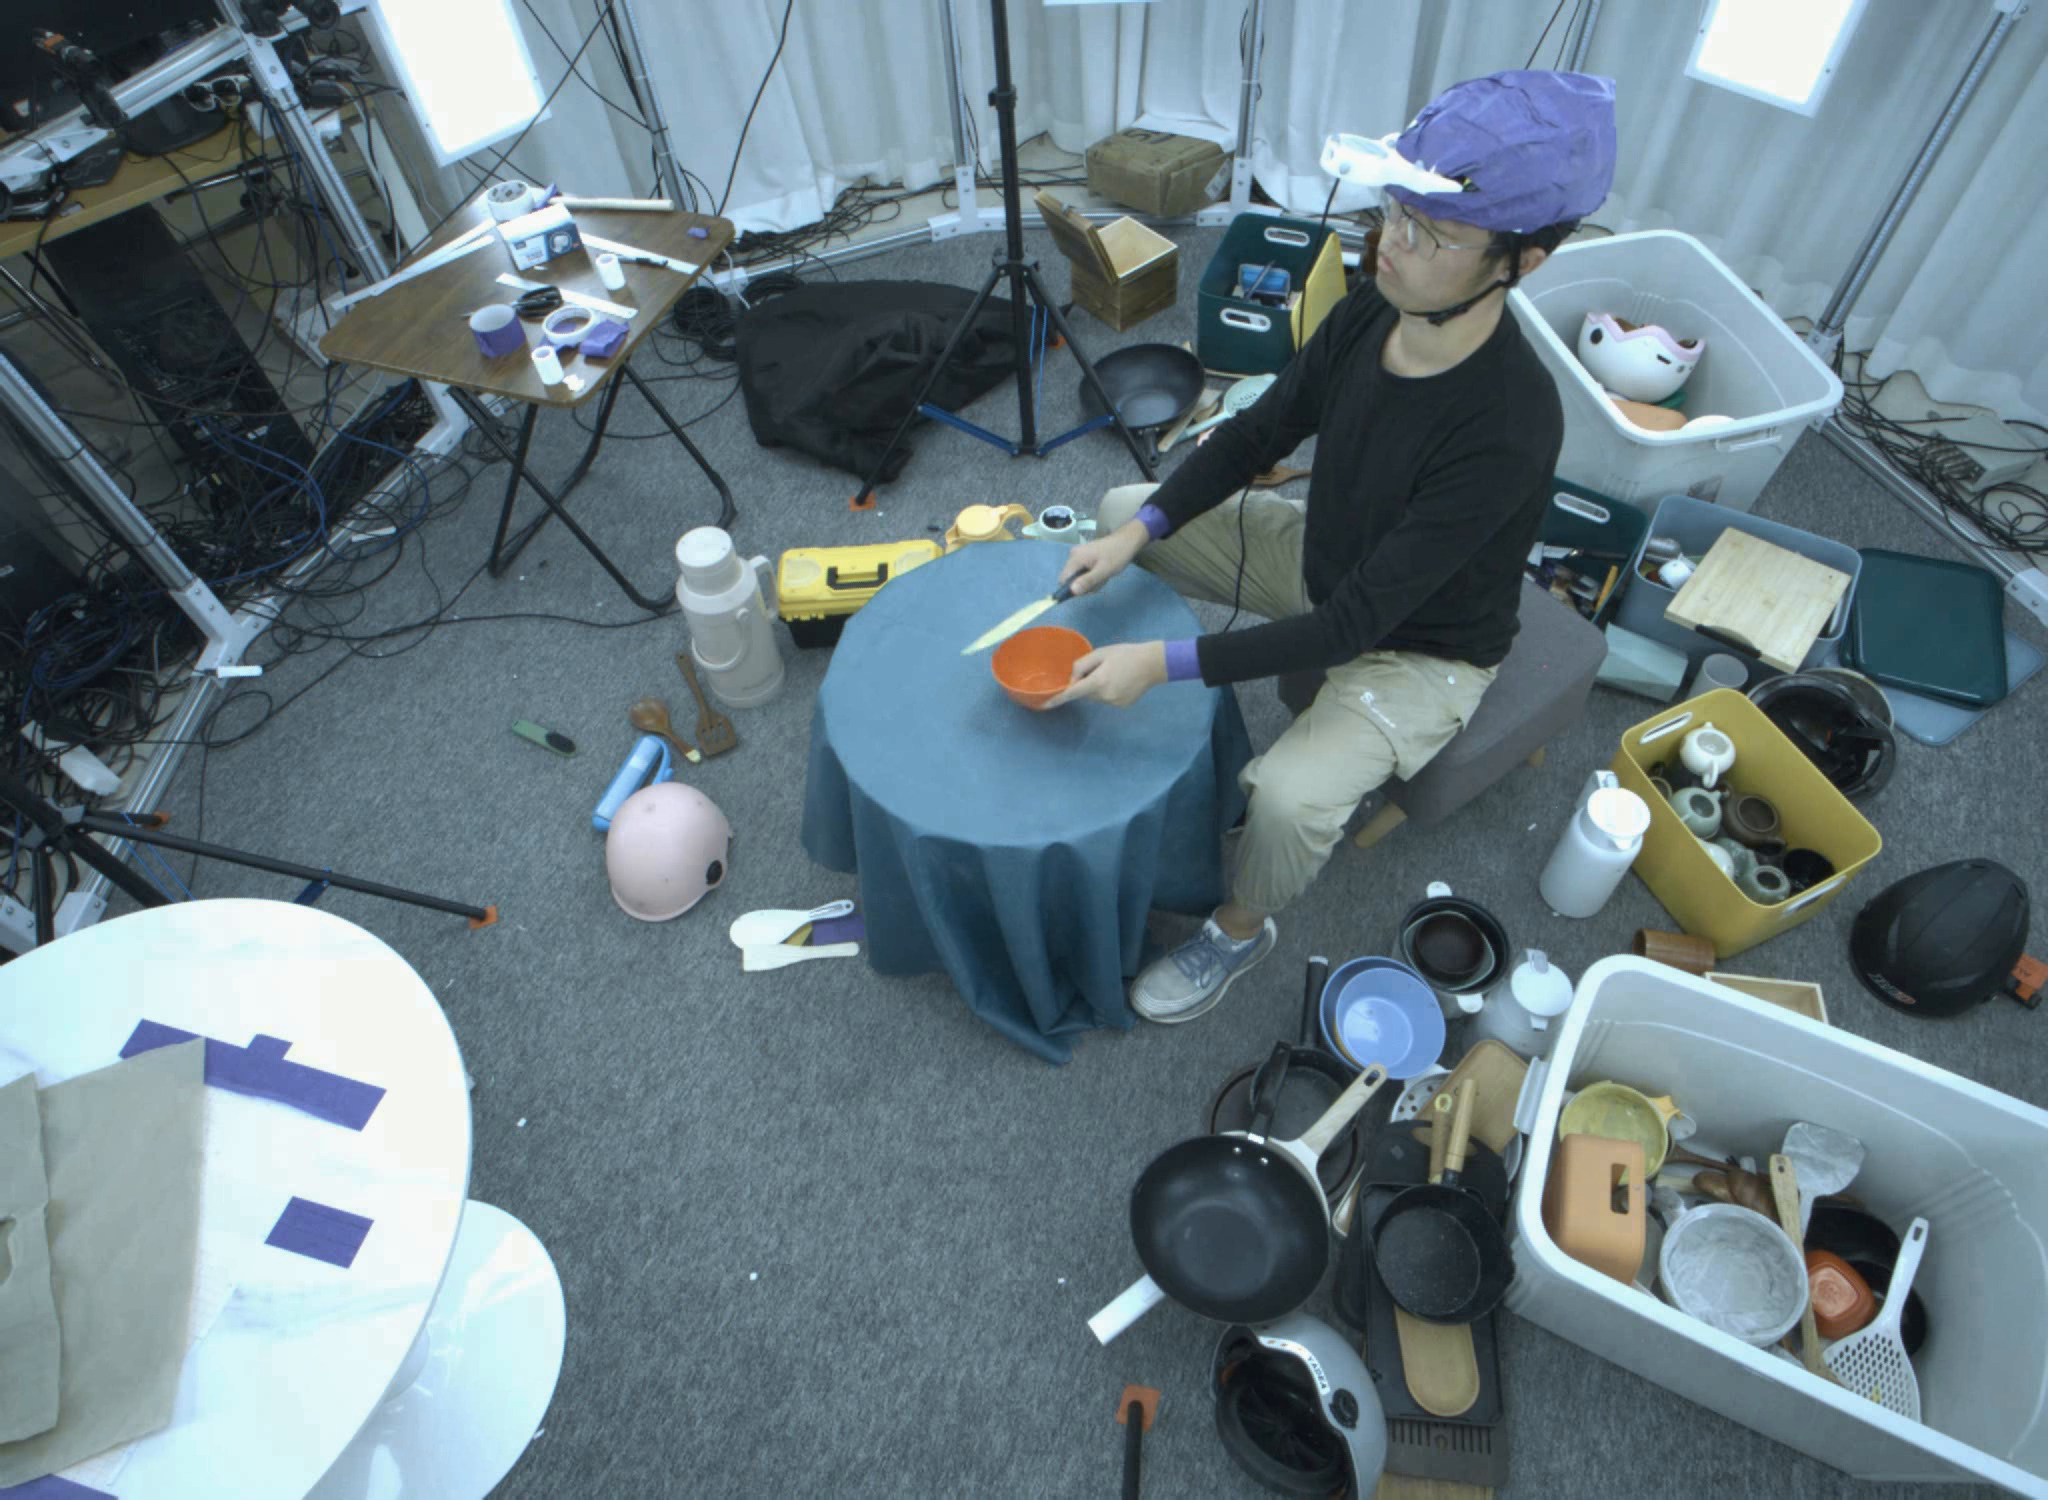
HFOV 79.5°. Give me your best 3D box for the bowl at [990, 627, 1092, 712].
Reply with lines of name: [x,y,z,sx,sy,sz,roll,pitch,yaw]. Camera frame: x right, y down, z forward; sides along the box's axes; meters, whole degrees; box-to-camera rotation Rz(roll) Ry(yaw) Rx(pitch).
bowl: [0.027,-0.105,1.797,0.148,0.106,0.146,-1,52,3]

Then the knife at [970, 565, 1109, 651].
knife: [0.024,-0.210,1.825,0.292,0.027,0.079,-35,23,-35]
